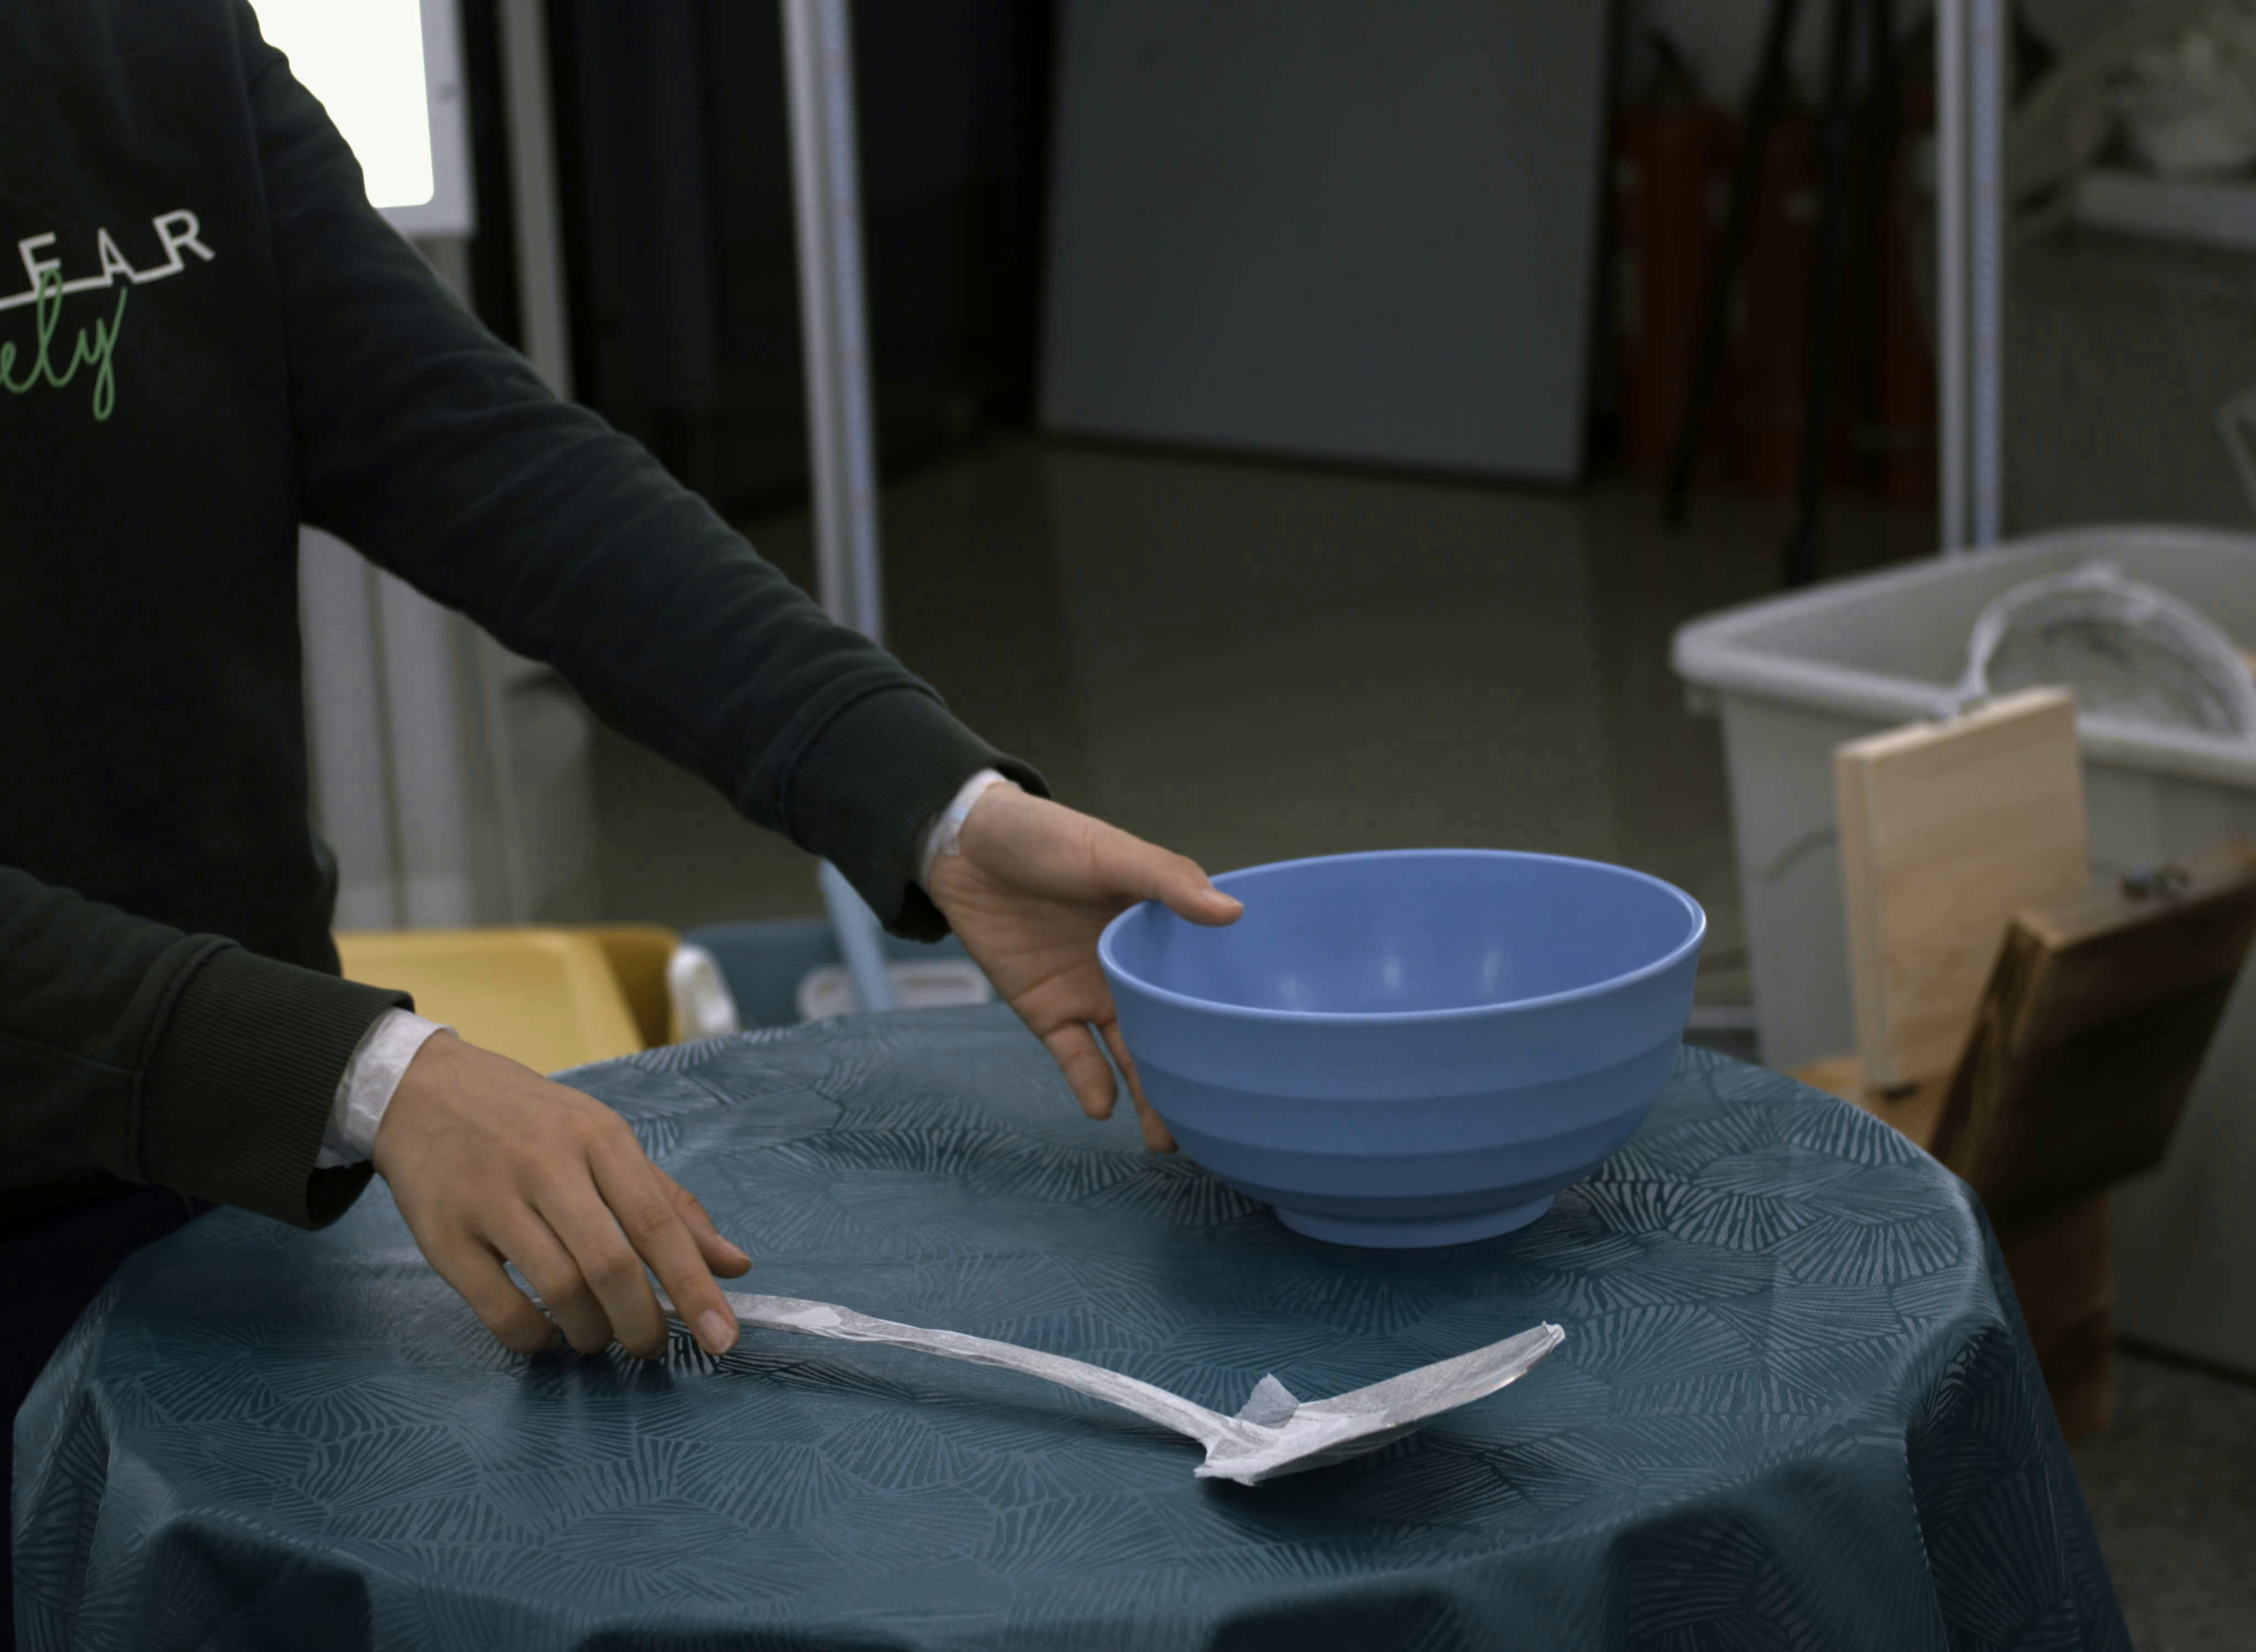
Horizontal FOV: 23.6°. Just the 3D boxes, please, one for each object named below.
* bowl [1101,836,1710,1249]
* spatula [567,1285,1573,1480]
[{"bbox_3d":[0.090,0.075,1.727,0.194,0.096,0.197,-3,15,0],"label":"bowl"},{"bbox_3d":[-0.037,0.151,1.581,0.367,0.045,0.097,7,19,36],"label":"spatula"}]
